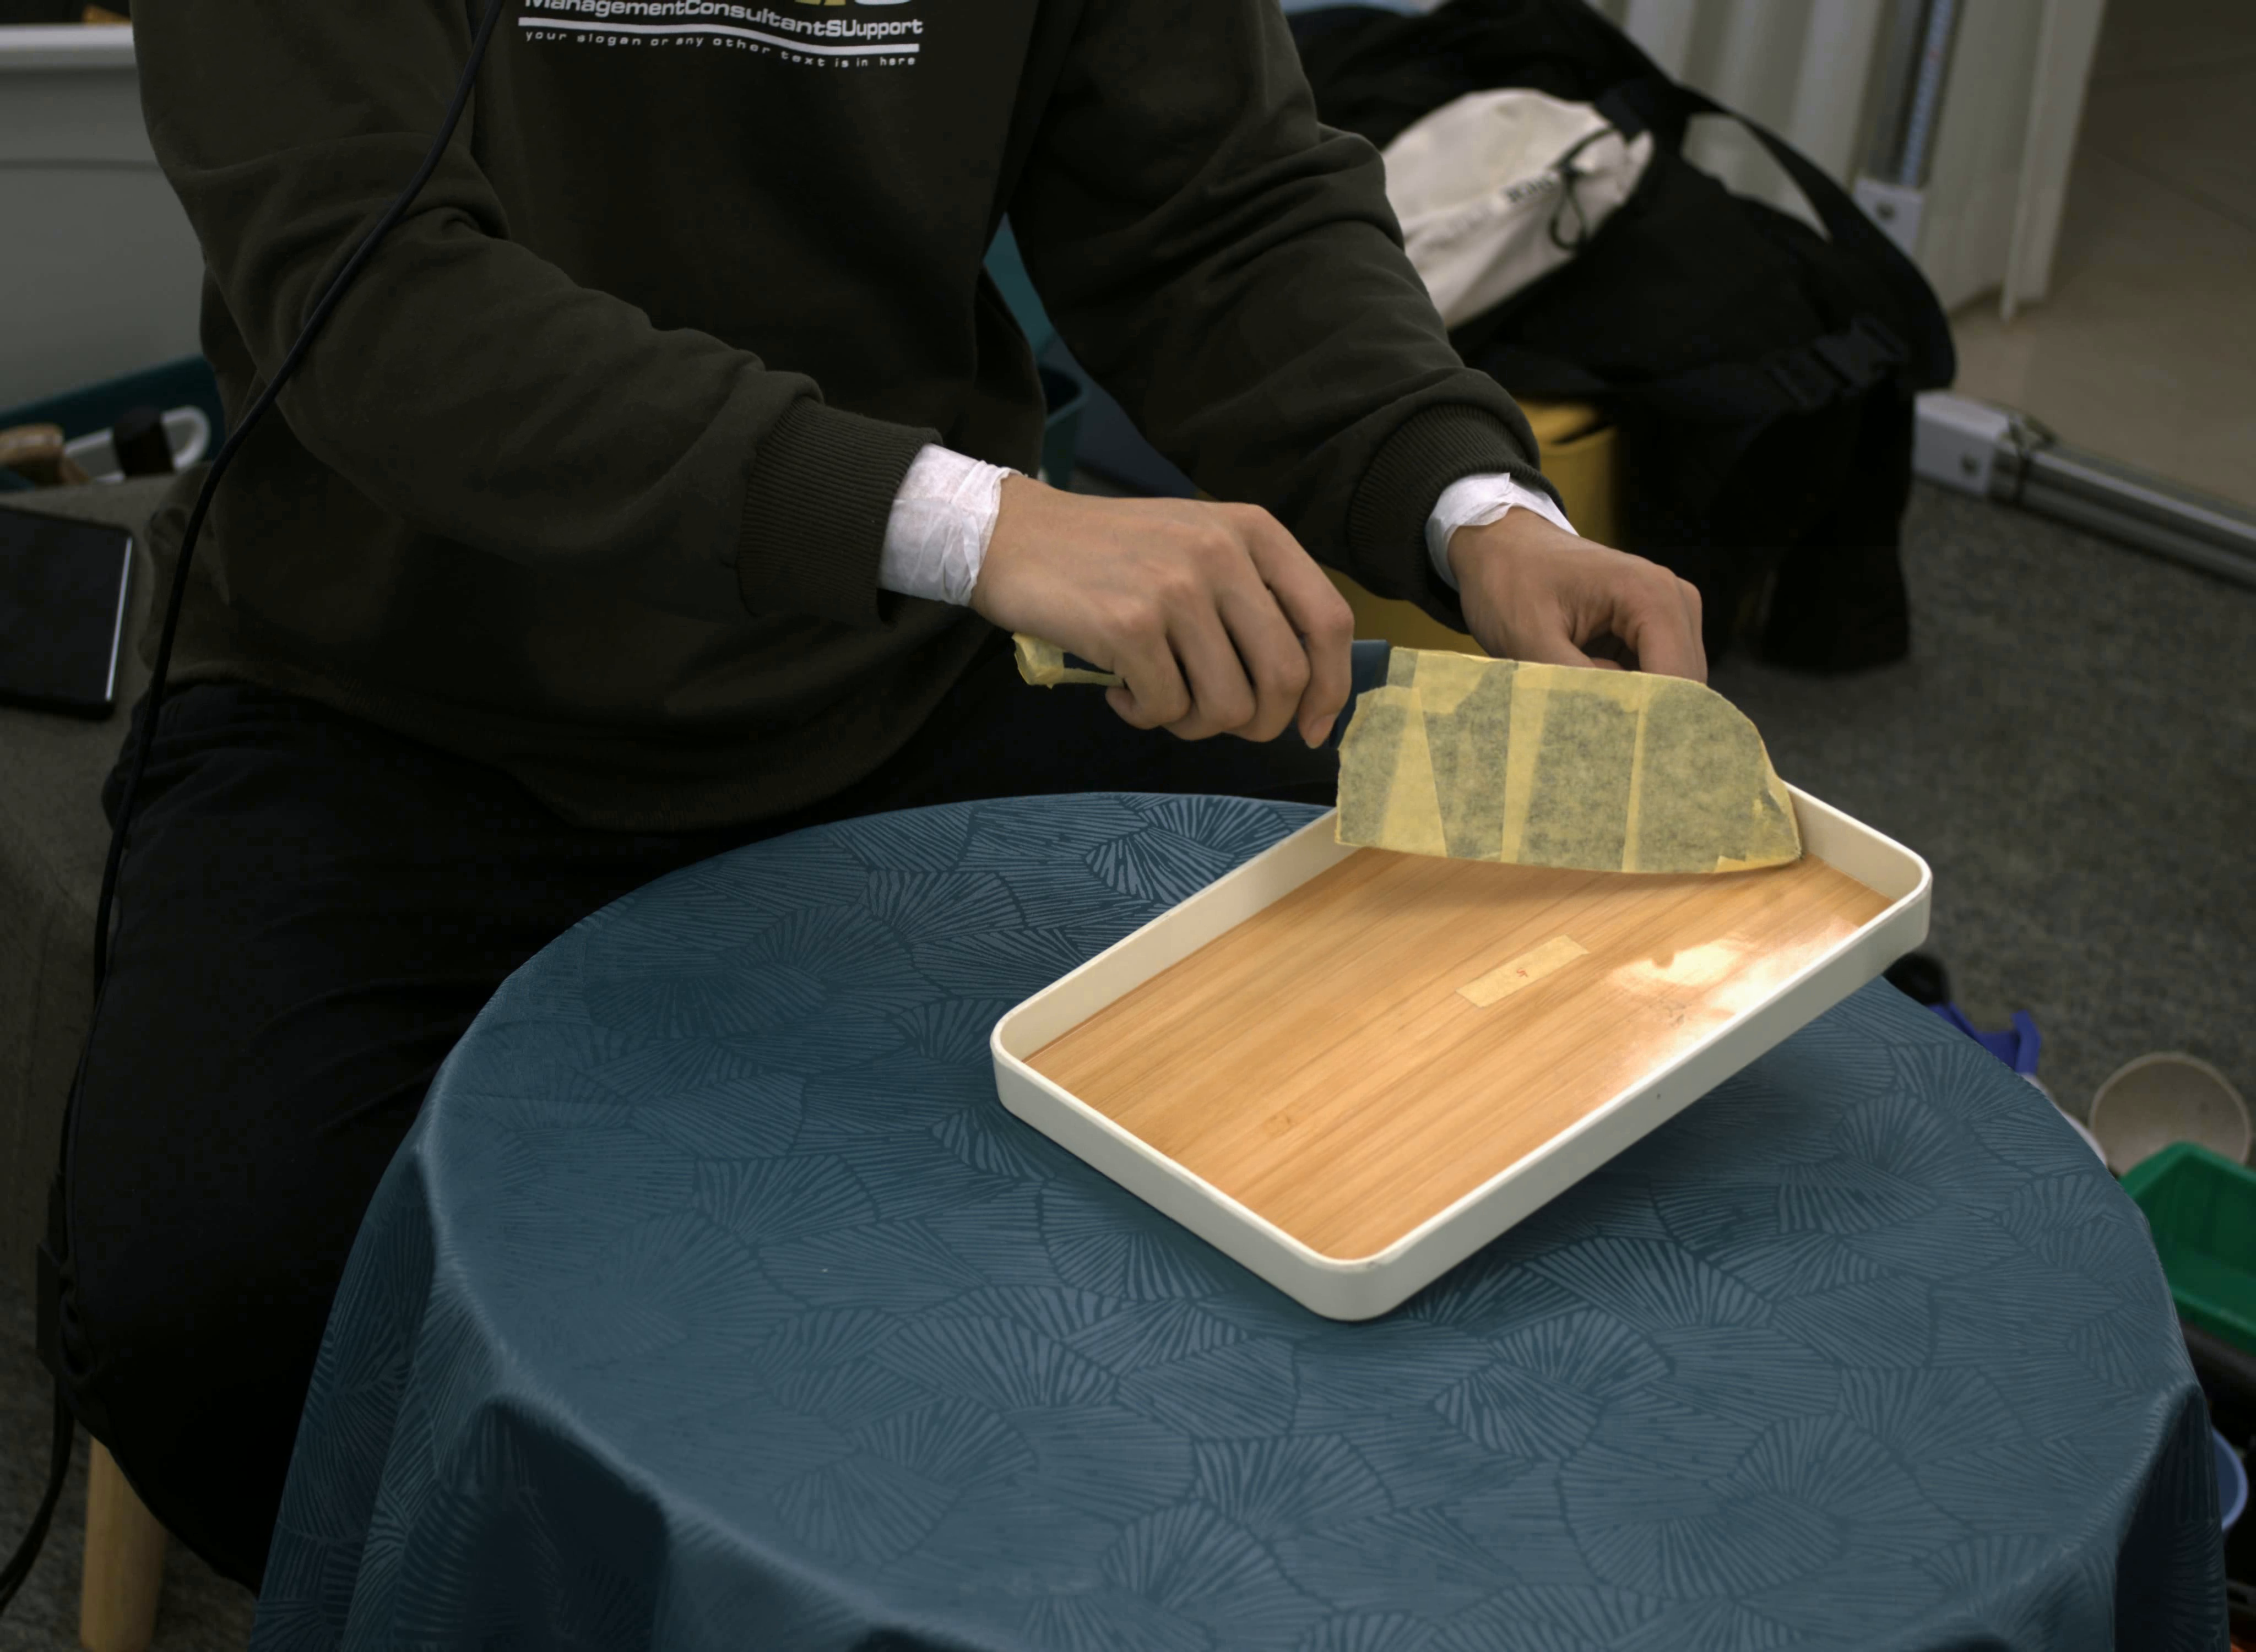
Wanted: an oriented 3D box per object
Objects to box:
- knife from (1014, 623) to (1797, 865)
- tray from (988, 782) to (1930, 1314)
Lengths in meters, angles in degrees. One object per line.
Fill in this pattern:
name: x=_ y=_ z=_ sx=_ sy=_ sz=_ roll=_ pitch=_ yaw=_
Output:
knife: x=0.099 y=-0.030 z=1.894 sx=0.288 sy=0.081 sz=0.027 roll=8 pitch=-5 yaw=-6
tray: x=0.118 y=0.054 z=1.864 sx=0.299 sy=0.027 sz=0.193 roll=-30 pitch=42 yaw=-30
